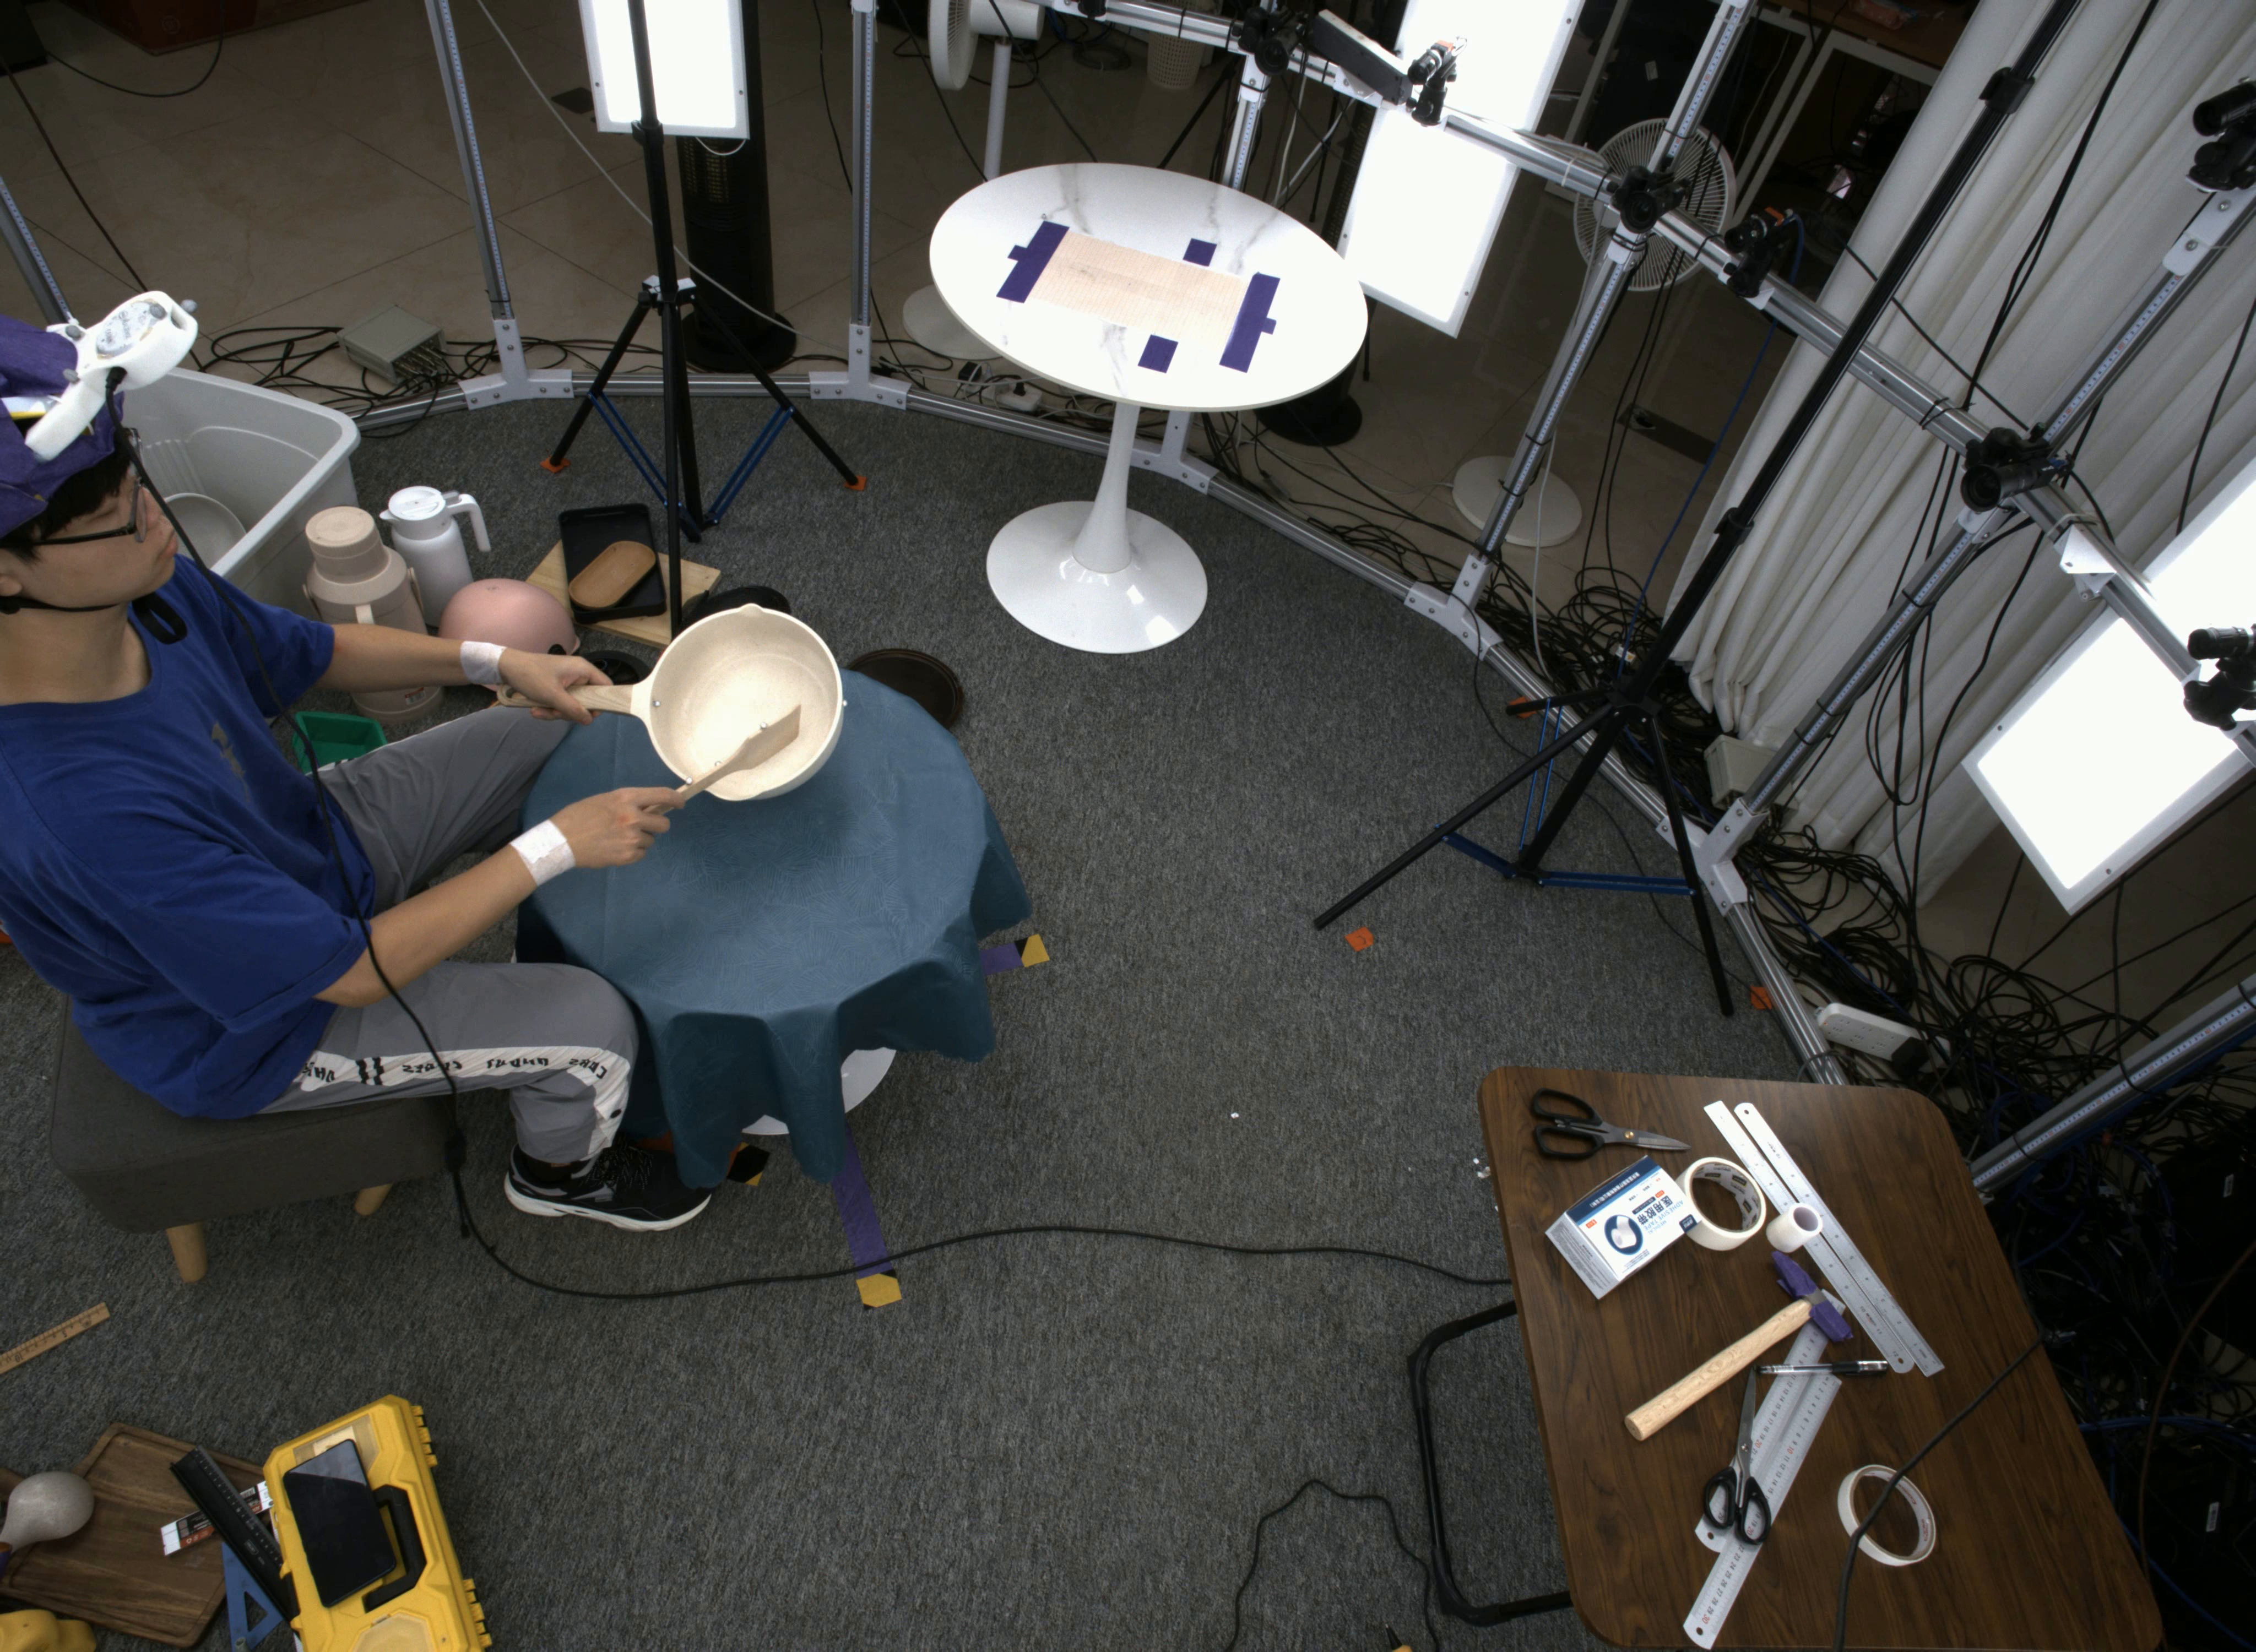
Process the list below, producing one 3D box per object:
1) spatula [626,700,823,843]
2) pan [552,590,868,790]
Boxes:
[{"bbox_3d":[-0.482,-0.063,1.558,0.010,0.073,0.293,43,56,15],"label":"spatula"},{"bbox_3d":[-0.548,-0.166,1.672,0.430,0.103,0.264,-1,79,-1],"label":"pan"}]
